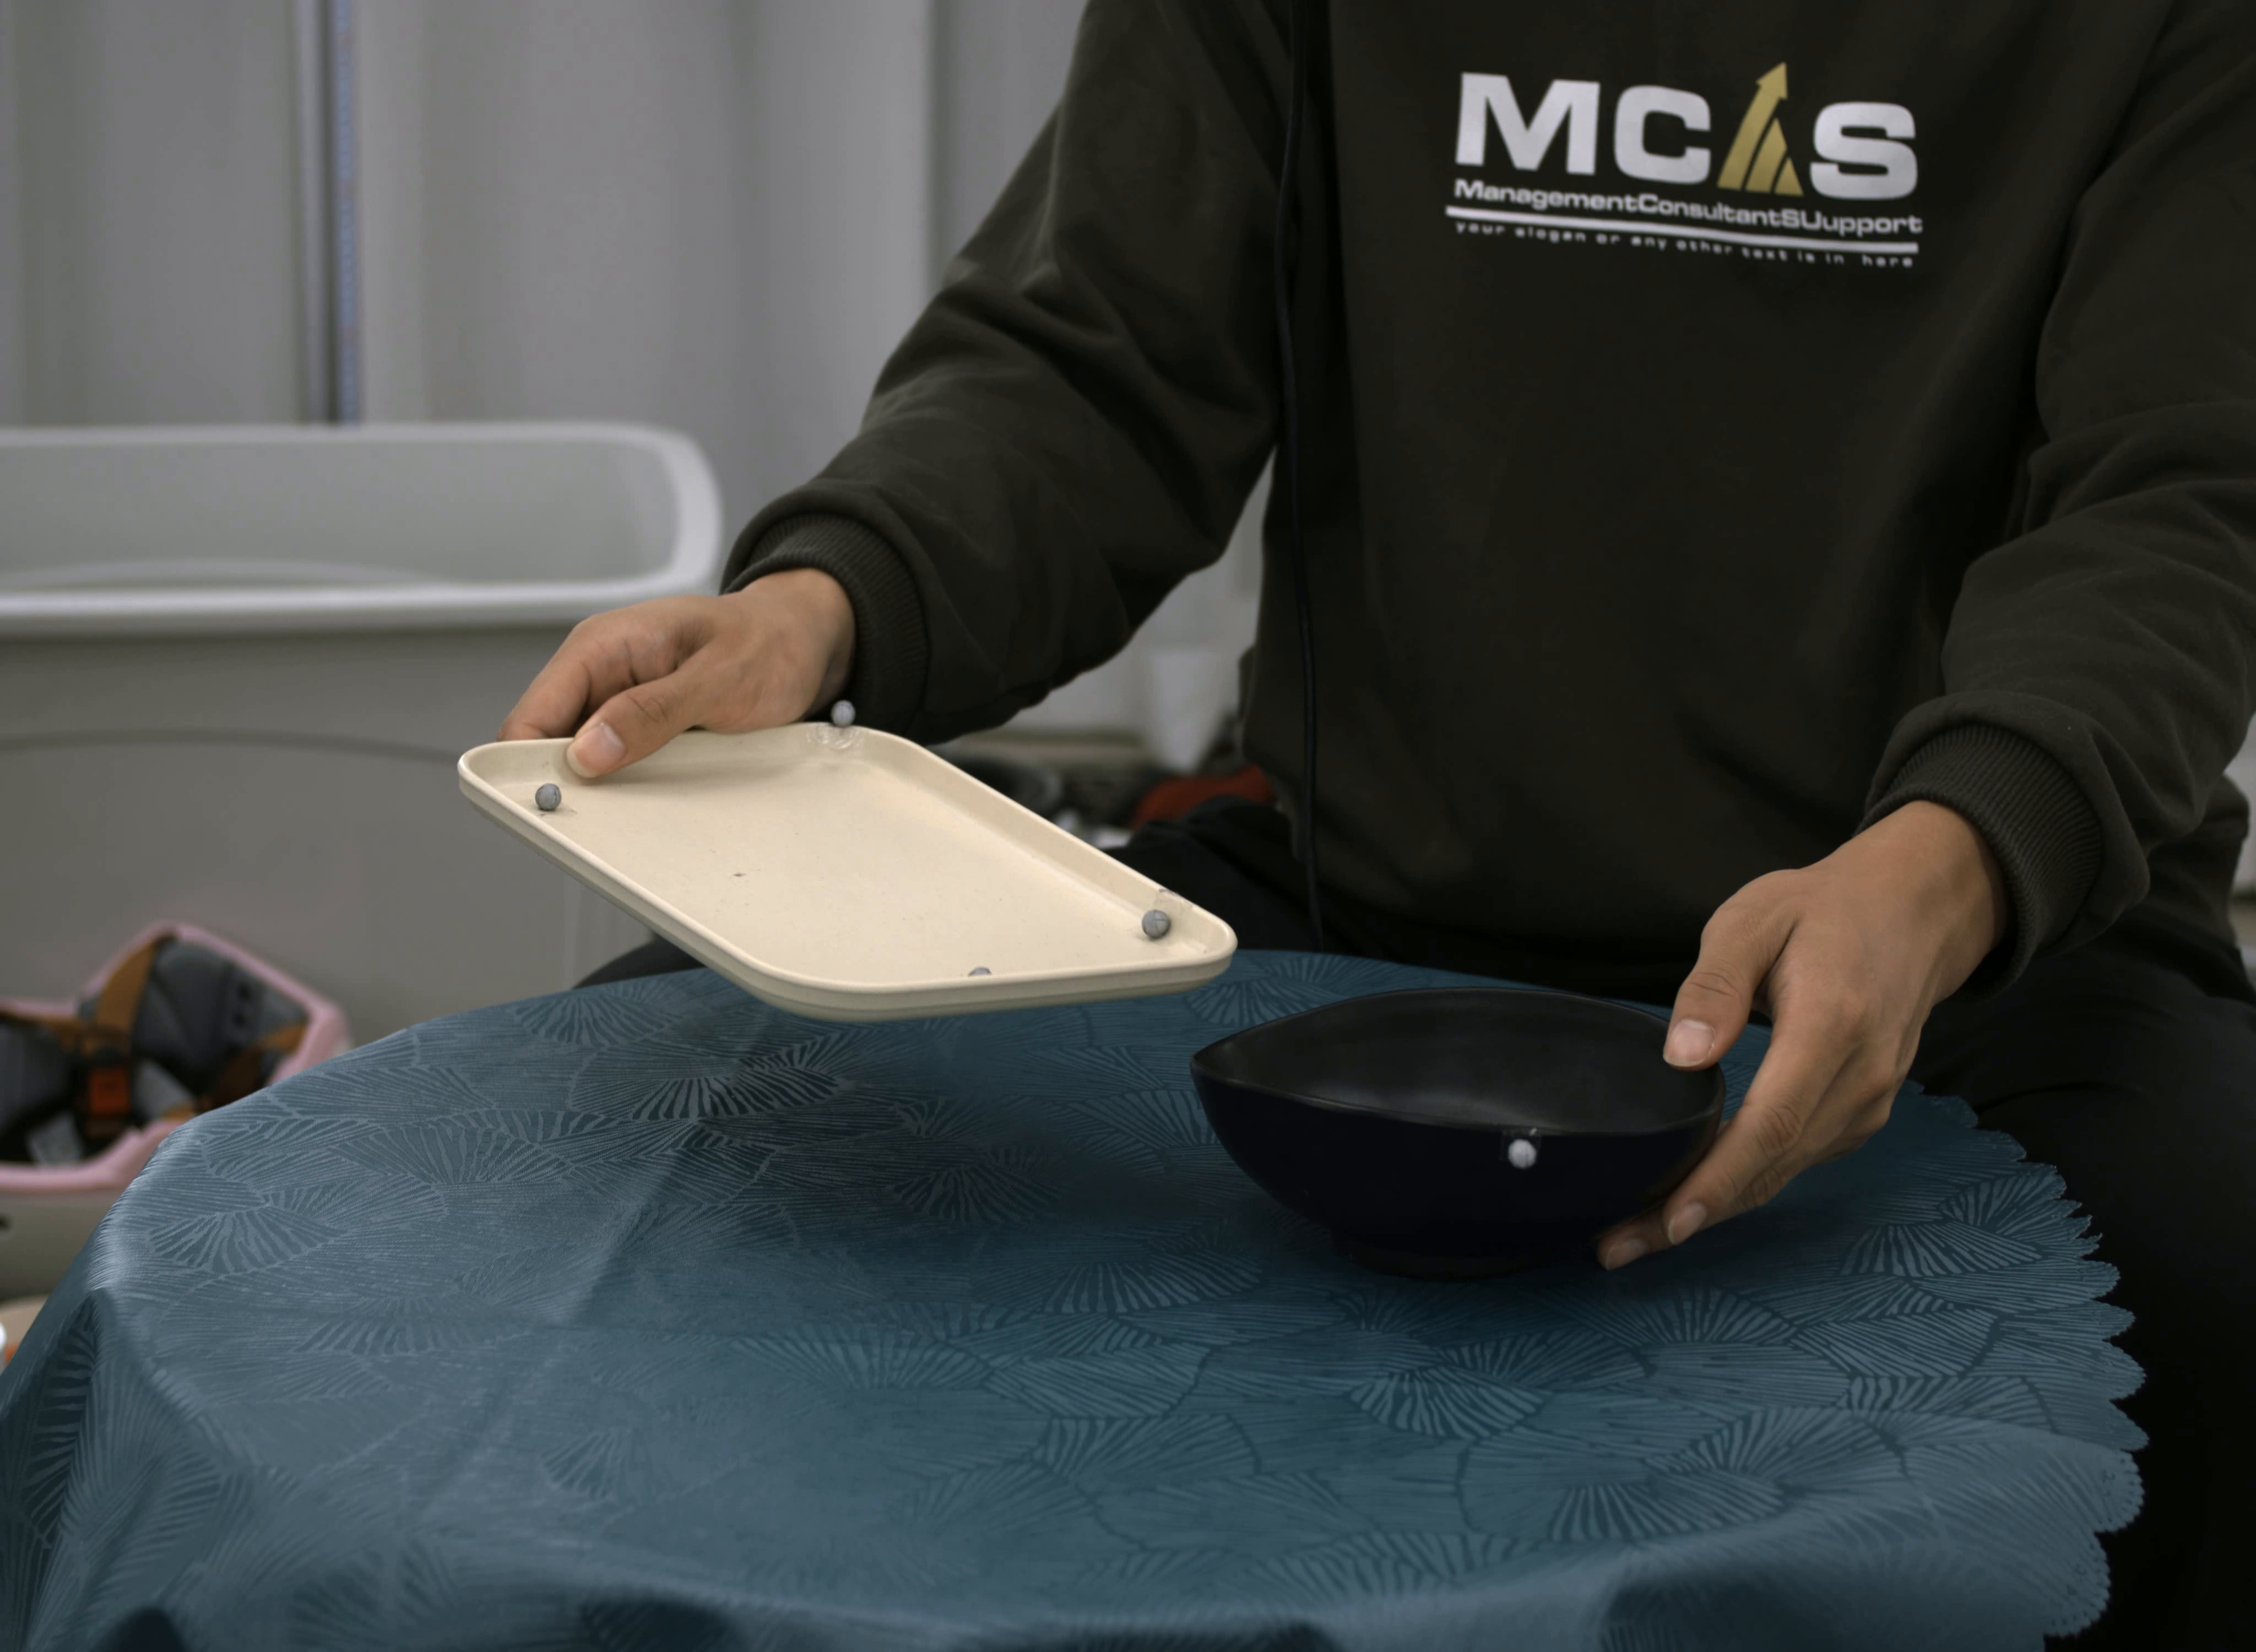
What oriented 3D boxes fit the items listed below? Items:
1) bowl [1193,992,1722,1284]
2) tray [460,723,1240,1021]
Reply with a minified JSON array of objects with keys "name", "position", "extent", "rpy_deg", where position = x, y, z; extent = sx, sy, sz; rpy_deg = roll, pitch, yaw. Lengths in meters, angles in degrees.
[{"name":"bowl","position":[0.096,0.097,1.577],"extent":[0.168,0.067,0.138],"rpy_deg":[8,16,33]},{"name":"tray","position":[-0.090,0.013,1.646],"extent":[0.172,0.017,0.236],"rpy_deg":[-5,21,-35]}]
